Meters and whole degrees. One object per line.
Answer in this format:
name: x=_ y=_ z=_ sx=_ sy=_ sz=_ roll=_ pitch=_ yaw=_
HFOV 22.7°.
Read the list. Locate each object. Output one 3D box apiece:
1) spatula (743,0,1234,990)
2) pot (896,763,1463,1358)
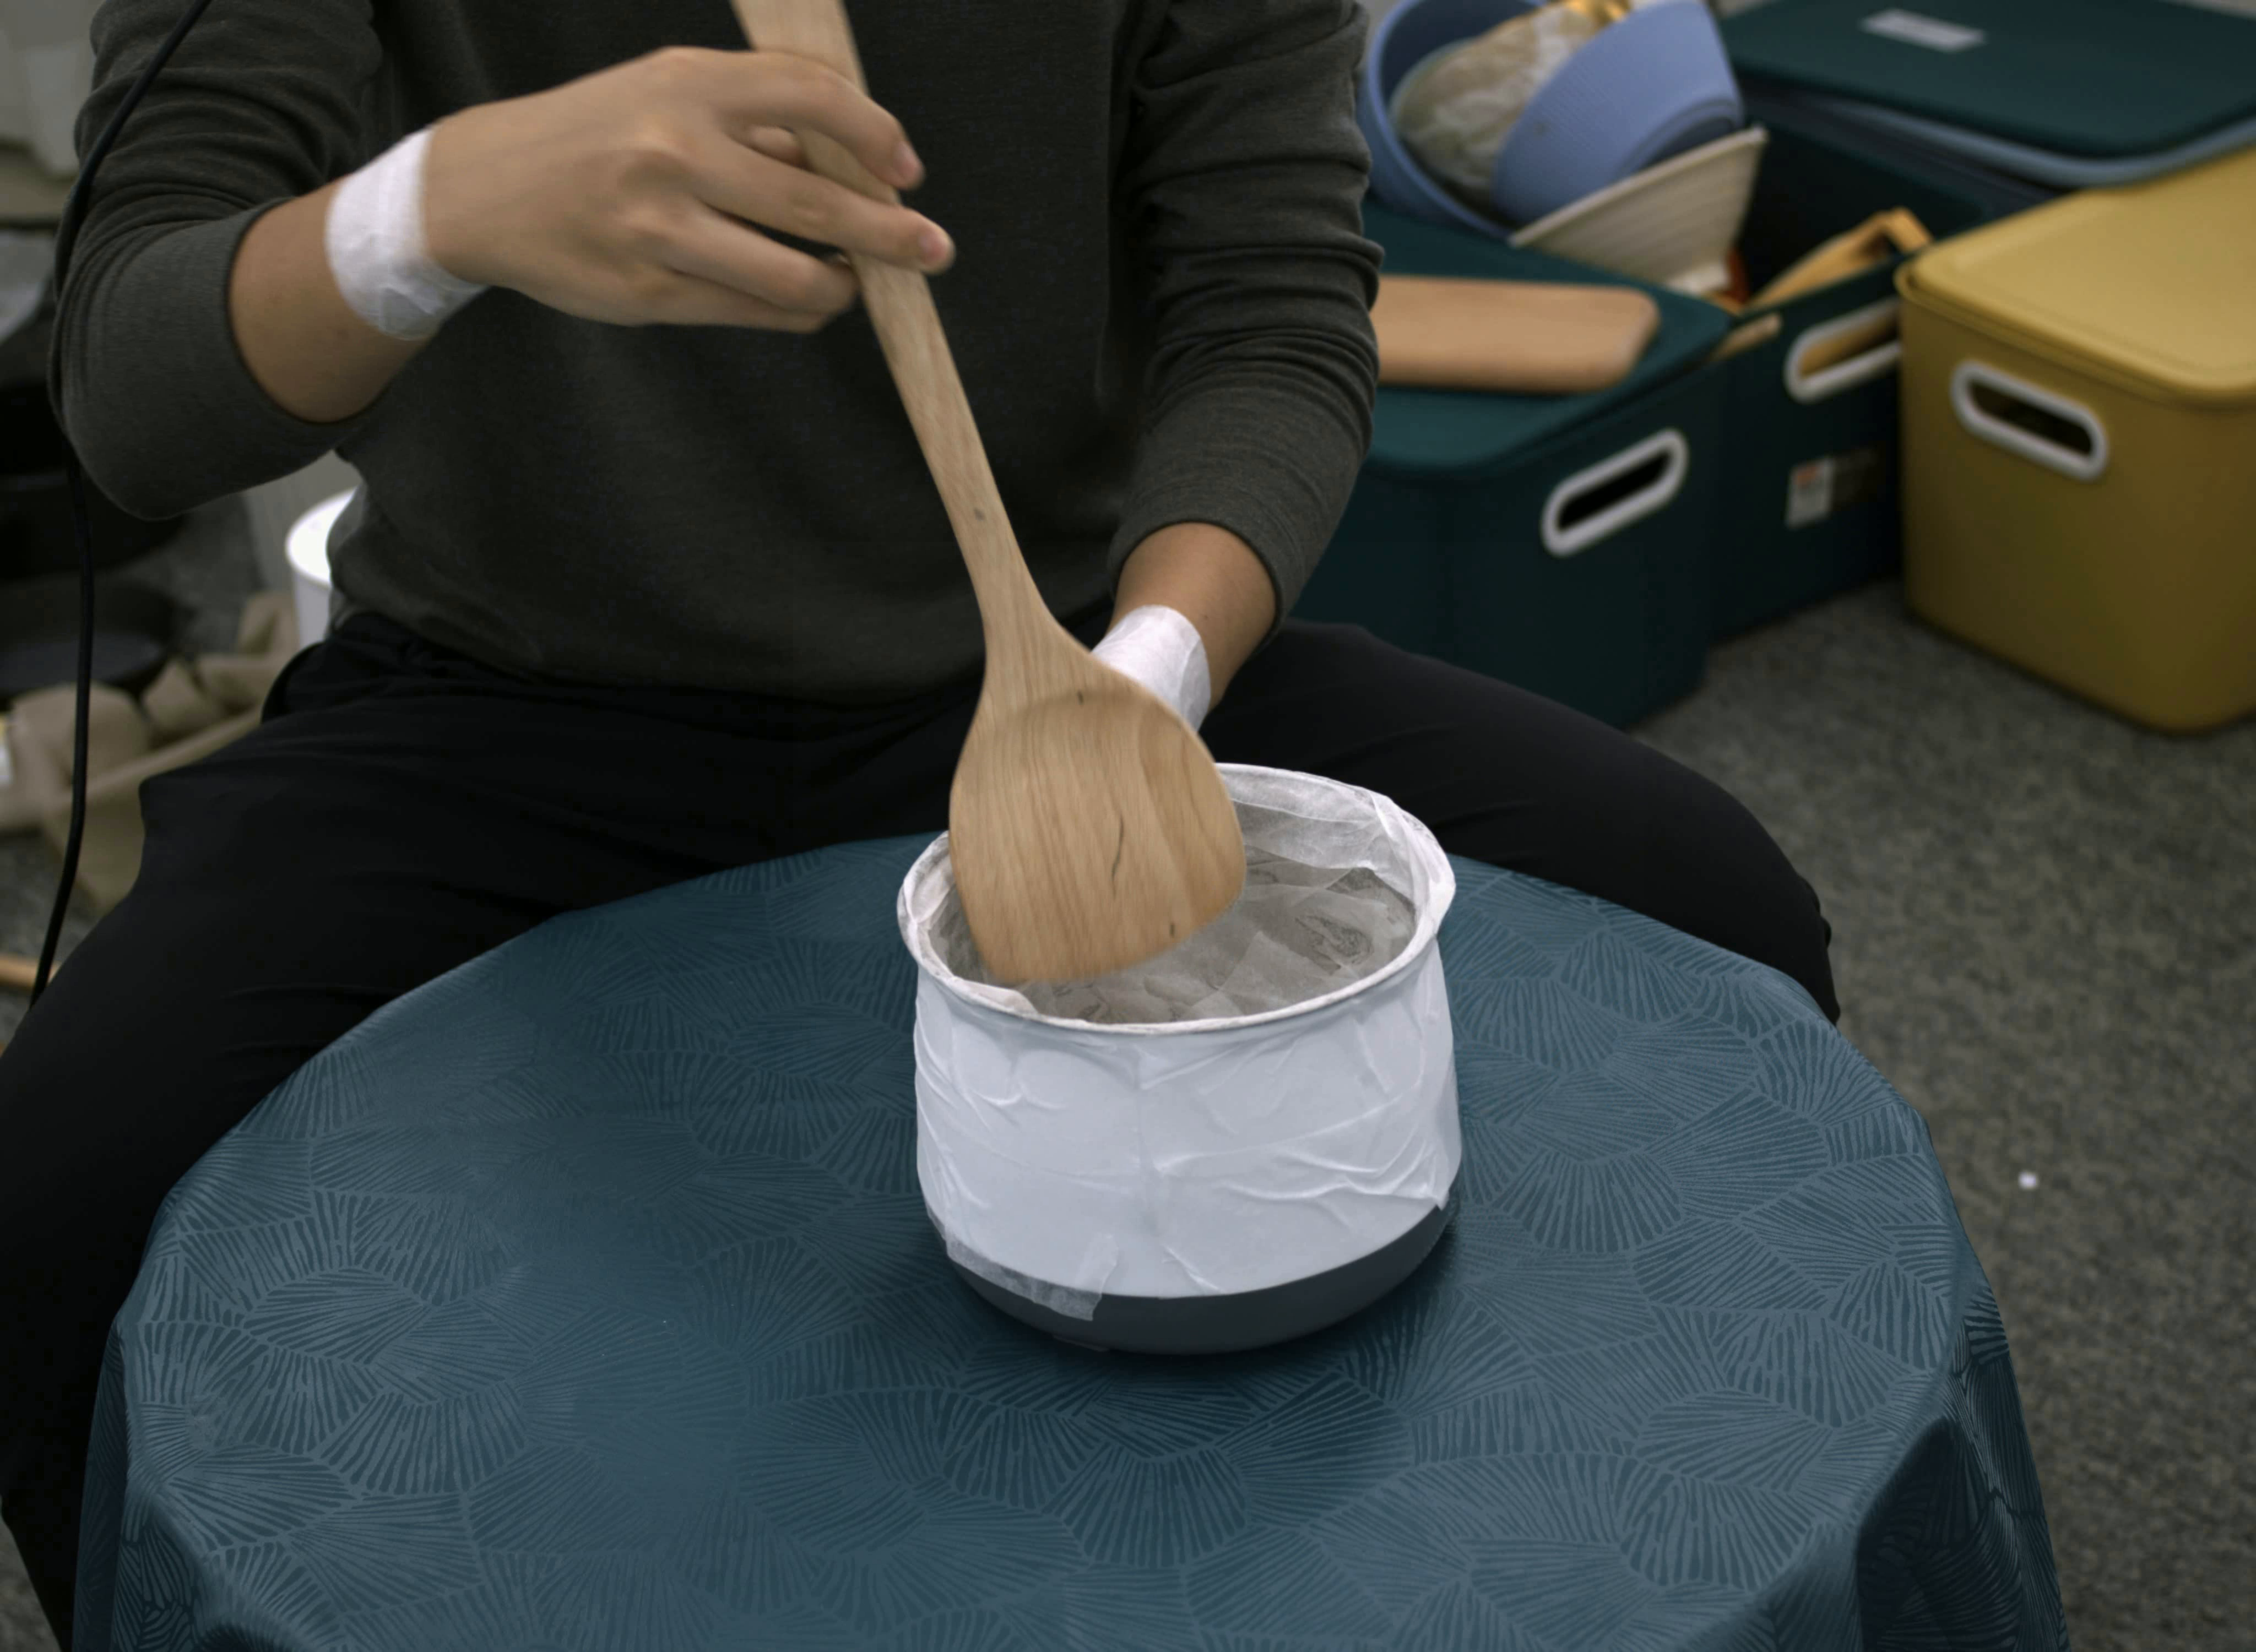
spatula: x=-0.062 y=-0.126 z=1.754 sx=0.095 sy=0.388 sz=0.018 roll=-21 pitch=21 yaw=-5
pot: x=0.012 y=0.065 z=1.826 sx=0.178 sy=0.135 sz=0.236 roll=-9 pitch=27 yaw=-11
